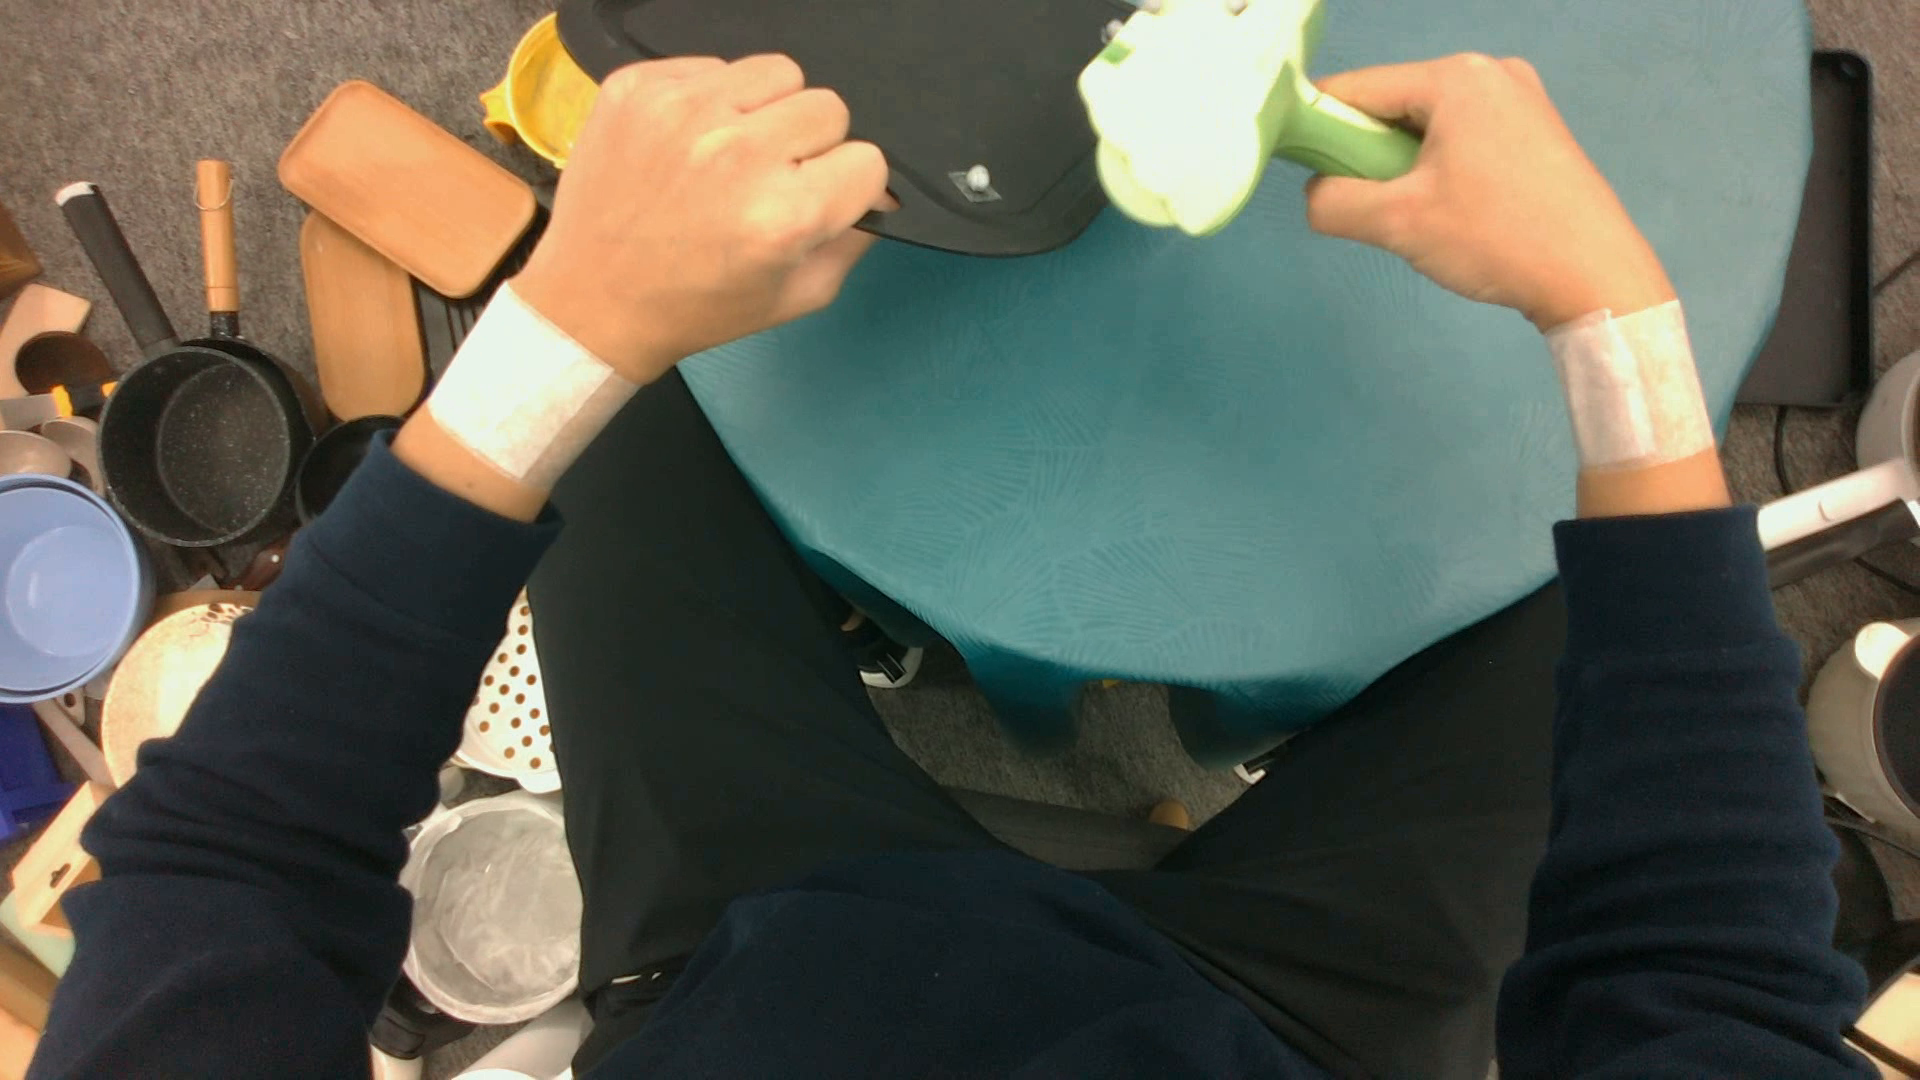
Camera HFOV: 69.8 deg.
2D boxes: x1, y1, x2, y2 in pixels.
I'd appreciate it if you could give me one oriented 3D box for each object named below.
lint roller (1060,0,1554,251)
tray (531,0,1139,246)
[{"bbox_3d":[0.143,-0.169,0.512,0.183,0.199,0.082,19,128,6],"label":"lint roller"},{"bbox_3d":[-0.022,-0.208,0.577,0.211,0.327,0.010,25,129,8],"label":"tray"}]
